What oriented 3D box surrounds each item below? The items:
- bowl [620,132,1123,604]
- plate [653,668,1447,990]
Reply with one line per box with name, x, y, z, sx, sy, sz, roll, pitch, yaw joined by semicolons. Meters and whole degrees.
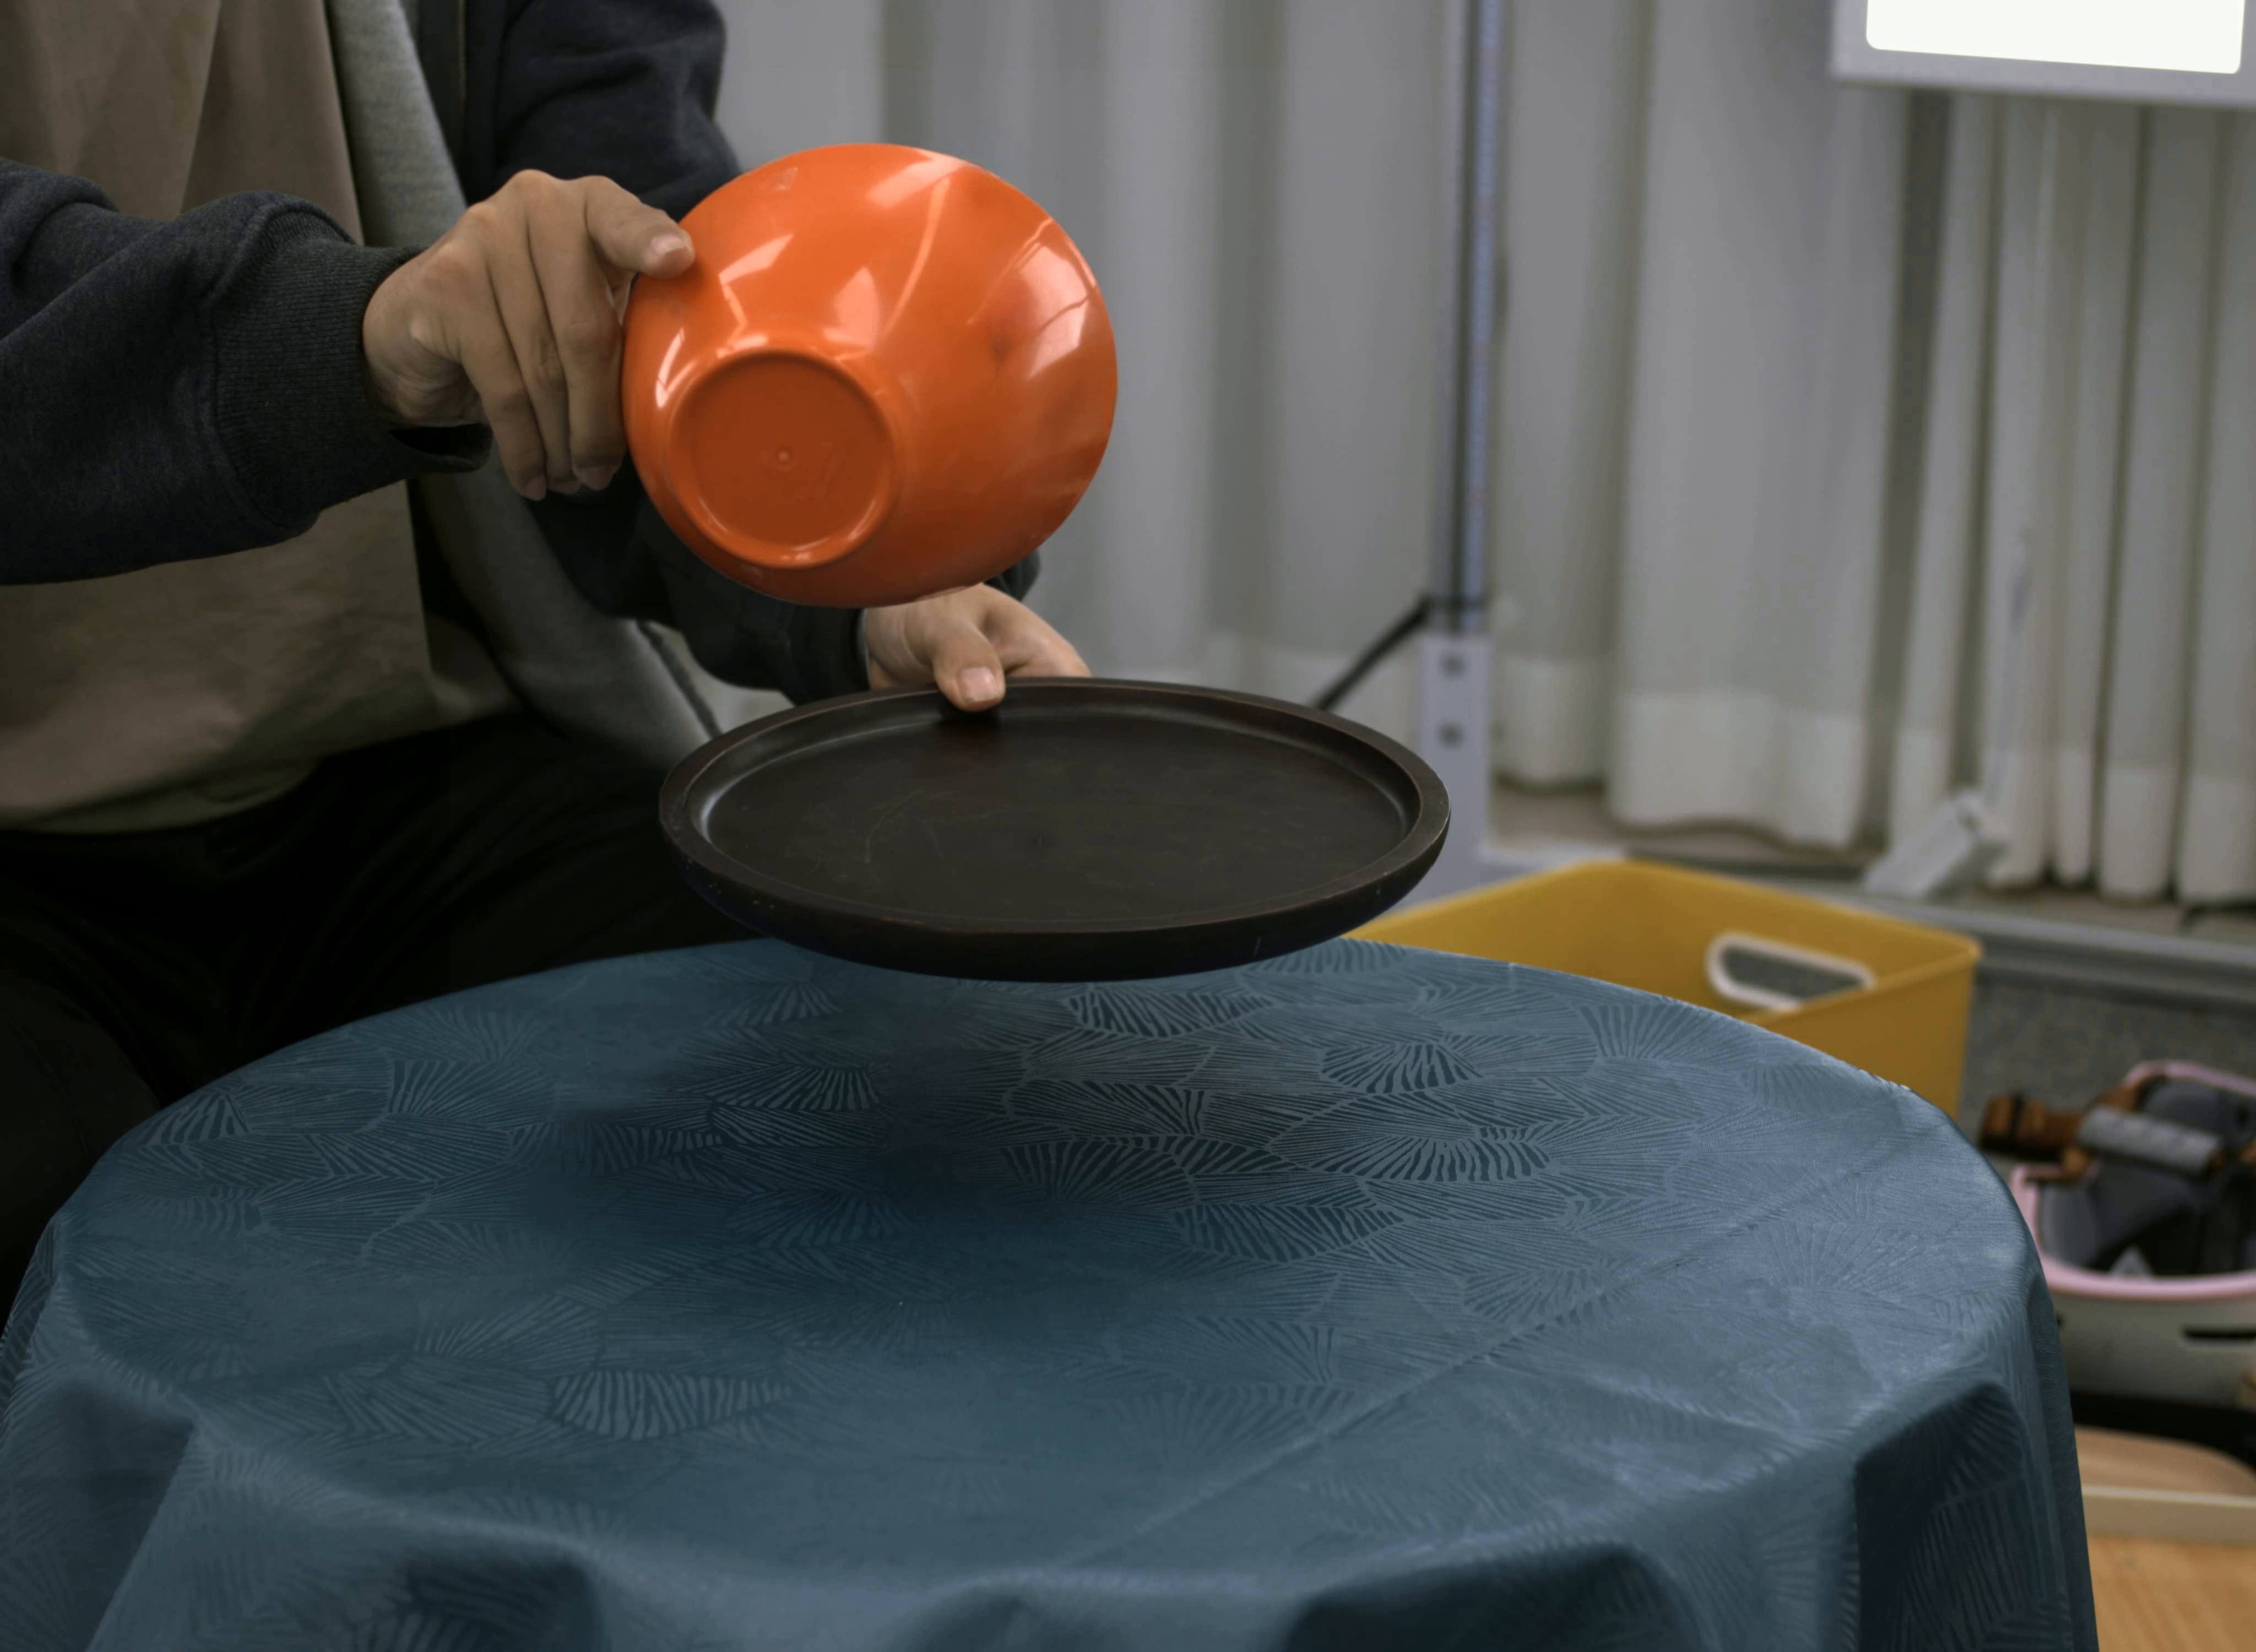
bowl;-0.081;-0.119;1.520;0.147;0.149;0.104;3;24;6
plate;-0.024;-0.001;1.672;0.254;0.029;0.253;0;20;0
